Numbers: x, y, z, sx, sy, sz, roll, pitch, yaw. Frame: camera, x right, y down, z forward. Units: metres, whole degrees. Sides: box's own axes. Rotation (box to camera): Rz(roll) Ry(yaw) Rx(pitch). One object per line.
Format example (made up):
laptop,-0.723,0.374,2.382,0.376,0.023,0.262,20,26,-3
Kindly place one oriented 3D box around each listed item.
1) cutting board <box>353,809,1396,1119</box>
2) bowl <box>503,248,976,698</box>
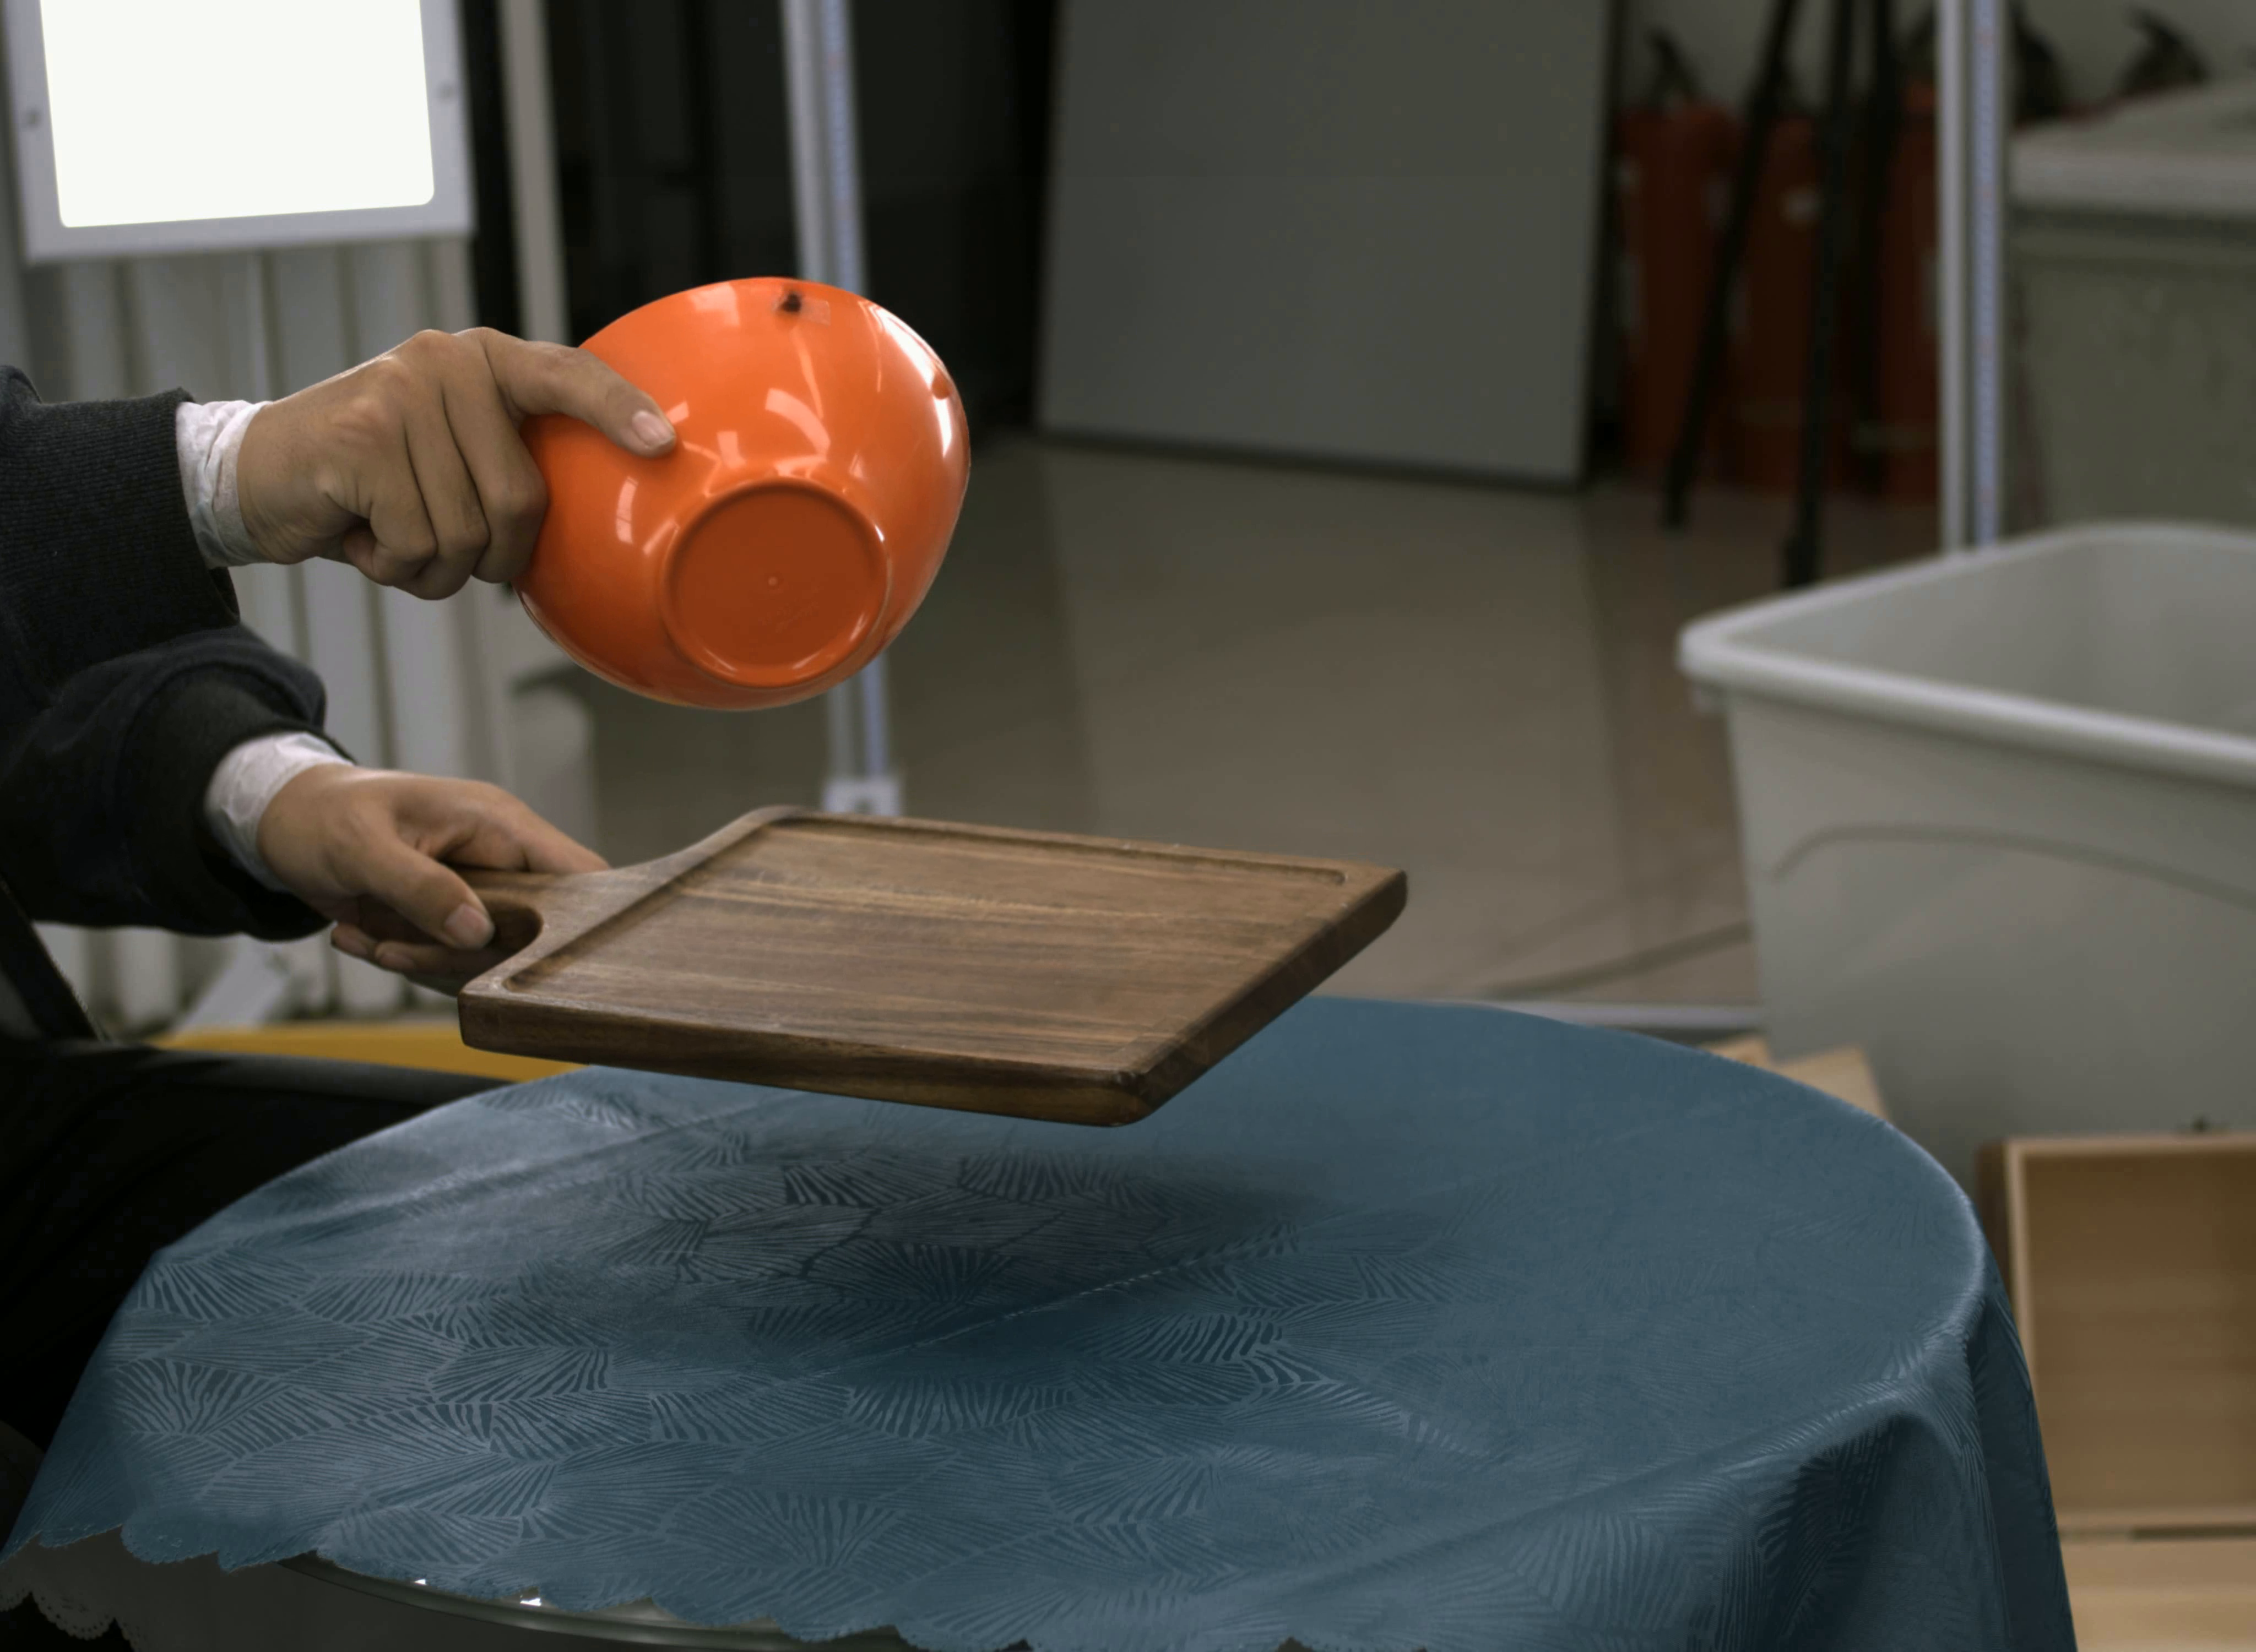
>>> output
cutting board,-0.105,0.037,1.766,0.353,0.023,0.198,4,20,29
bowl,-0.107,-0.088,1.591,0.145,0.149,0.105,-6,26,-11
